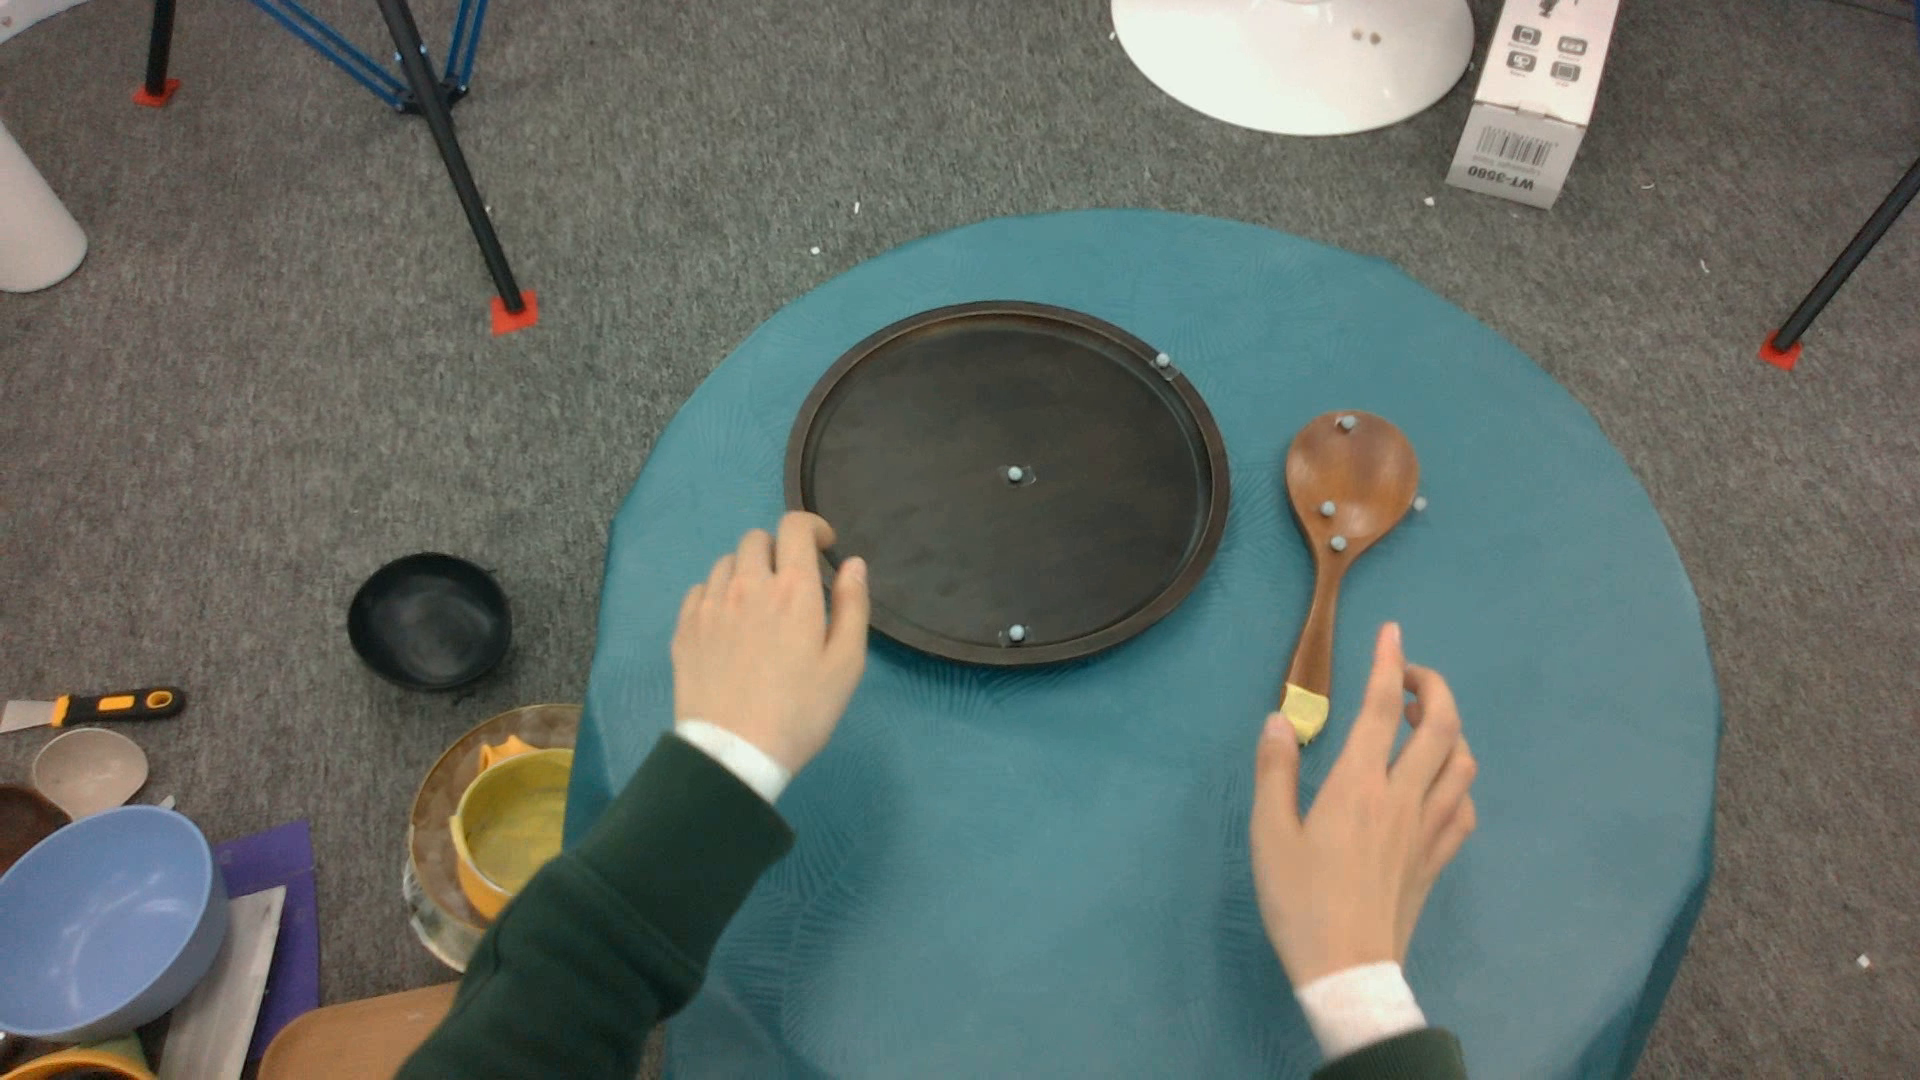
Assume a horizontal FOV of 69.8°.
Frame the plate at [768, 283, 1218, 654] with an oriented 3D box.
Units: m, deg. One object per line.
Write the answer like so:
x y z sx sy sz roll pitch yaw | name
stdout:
0.018 -0.046 0.781 0.255 0.029 0.256 1 56 -1 | plate

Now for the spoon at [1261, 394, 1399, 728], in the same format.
0.195 0.006 0.755 0.075 0.017 0.217 15 58 7 | spoon
